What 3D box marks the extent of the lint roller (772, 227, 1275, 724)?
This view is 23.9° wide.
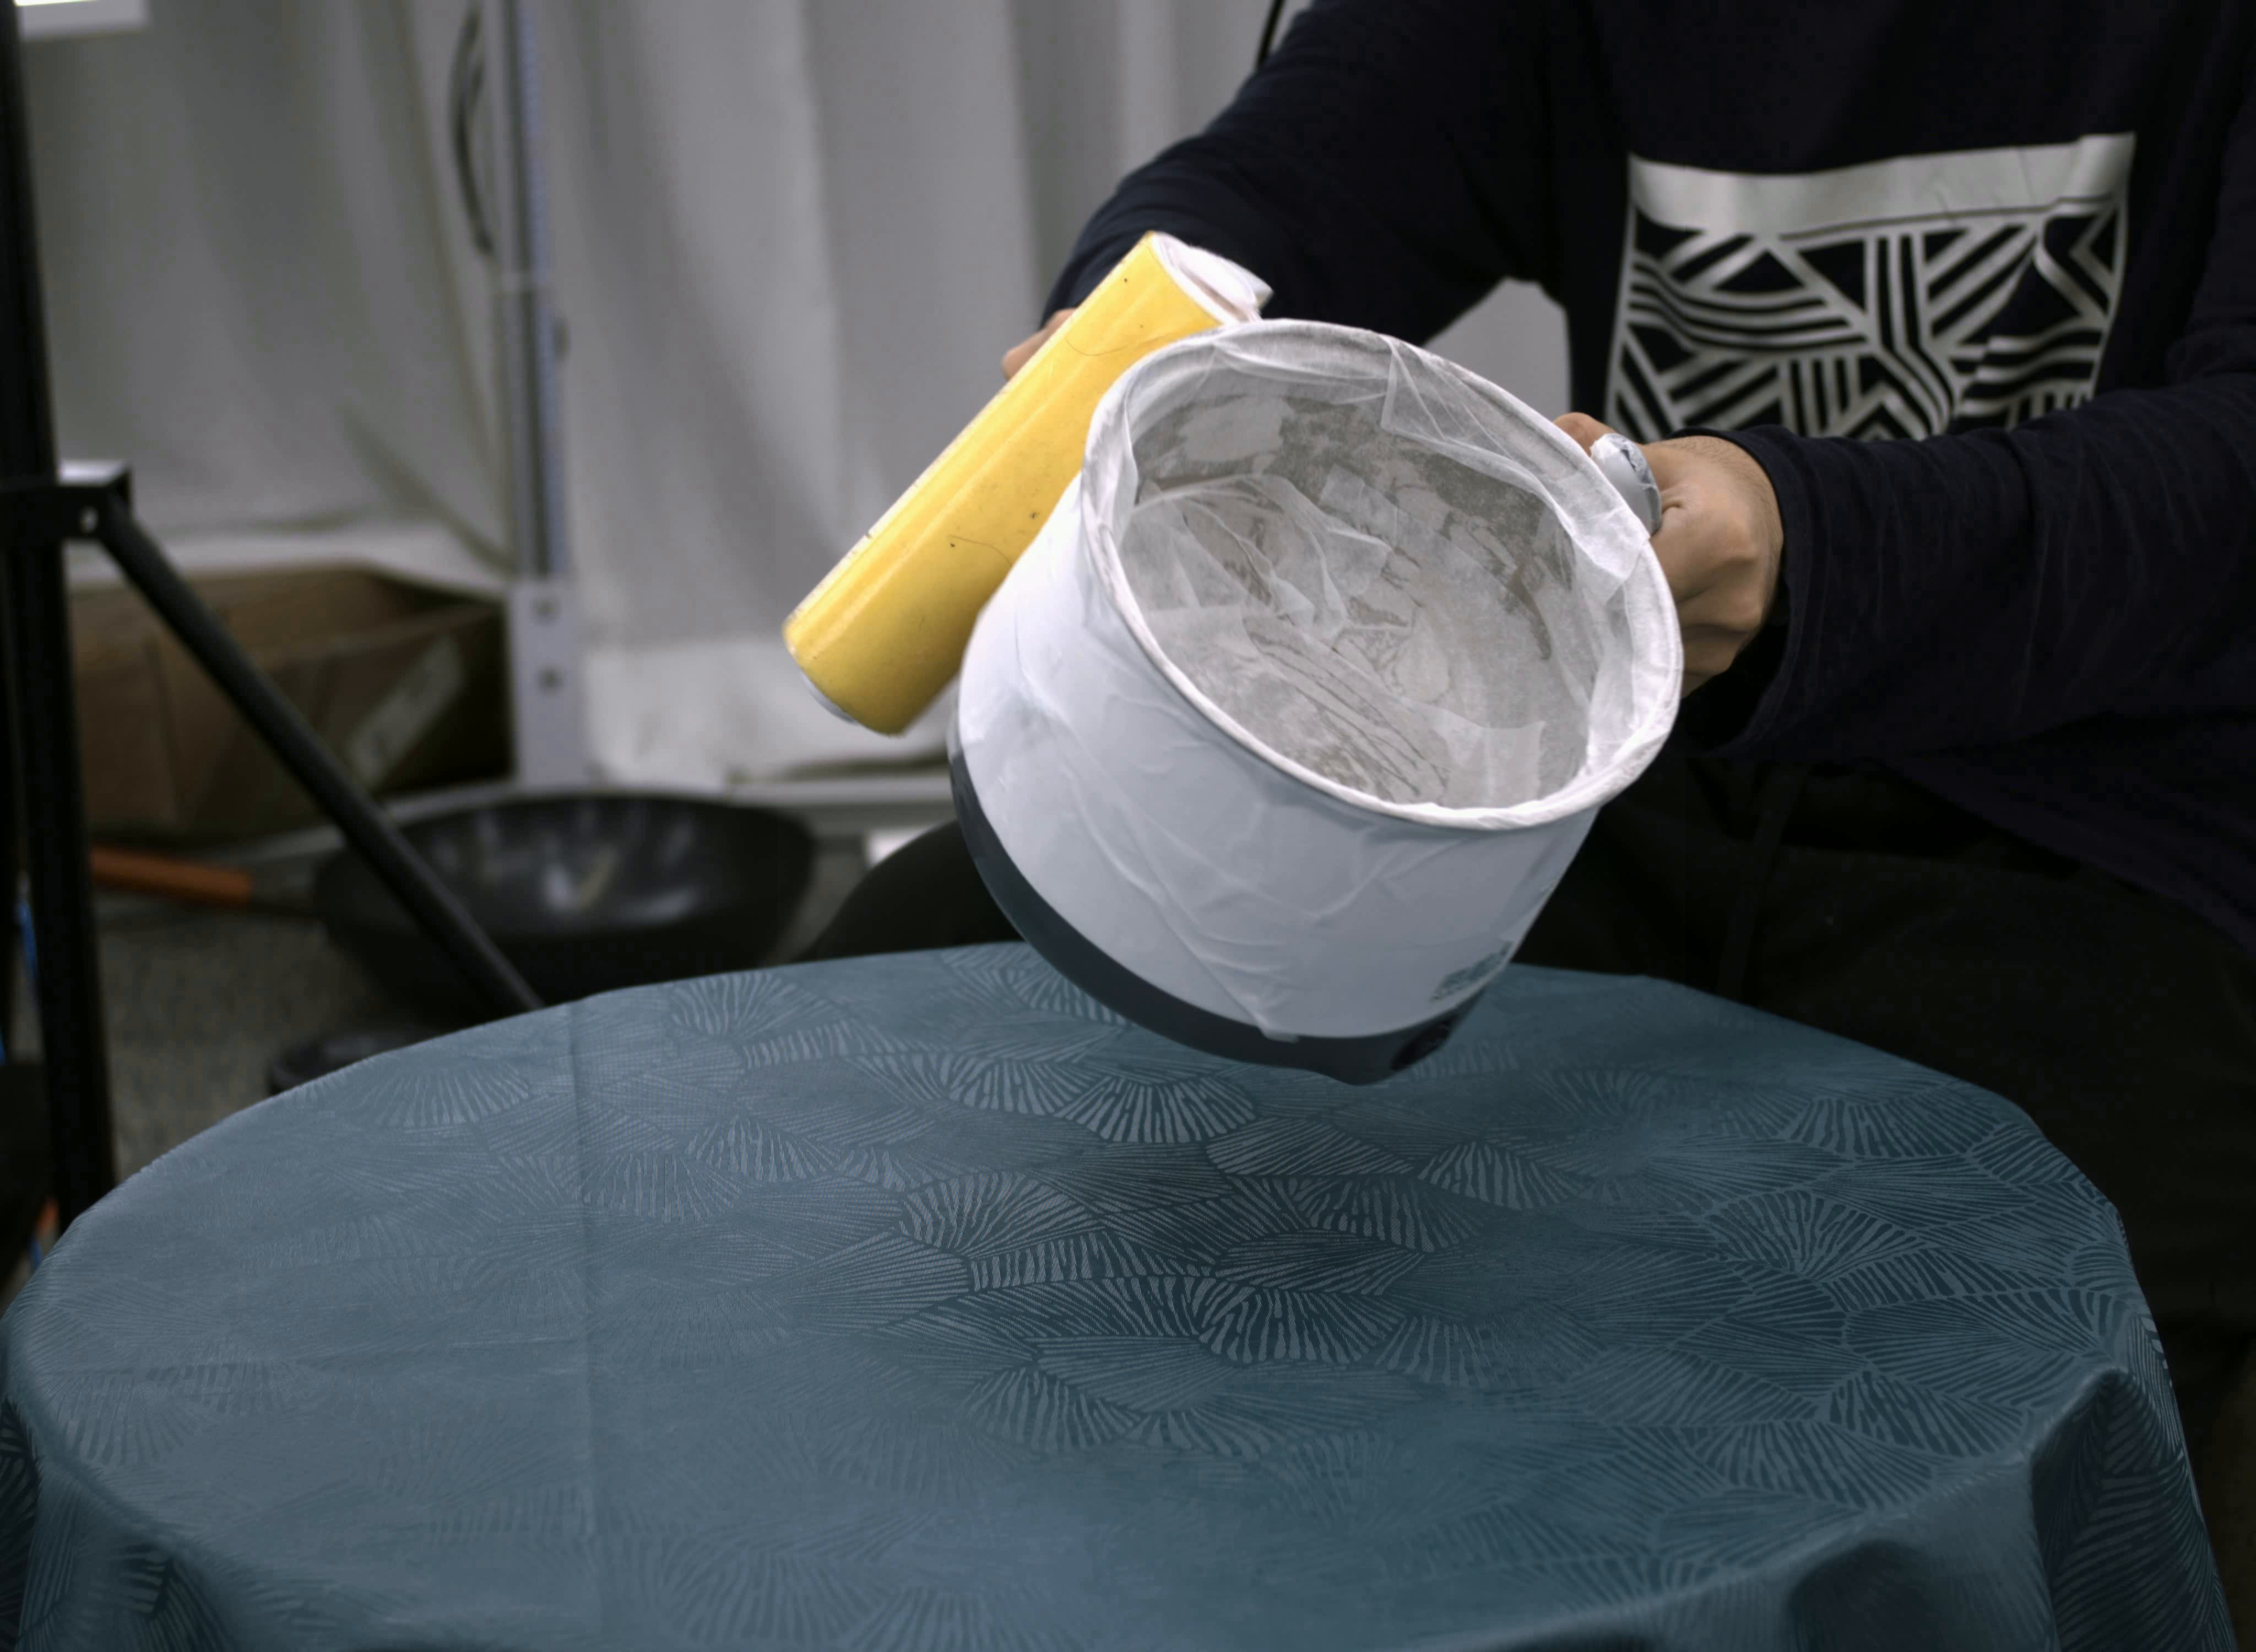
[{"bbox_3d":[-0.019,-0.113,1.597,0.175,0.051,0.191,-43,3,16],"label":"lint roller"}]

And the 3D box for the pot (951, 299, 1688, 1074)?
[{"bbox_3d":[0.067,-0.046,1.485,0.229,0.137,0.181,-27,70,-37],"label":"pot"}]
